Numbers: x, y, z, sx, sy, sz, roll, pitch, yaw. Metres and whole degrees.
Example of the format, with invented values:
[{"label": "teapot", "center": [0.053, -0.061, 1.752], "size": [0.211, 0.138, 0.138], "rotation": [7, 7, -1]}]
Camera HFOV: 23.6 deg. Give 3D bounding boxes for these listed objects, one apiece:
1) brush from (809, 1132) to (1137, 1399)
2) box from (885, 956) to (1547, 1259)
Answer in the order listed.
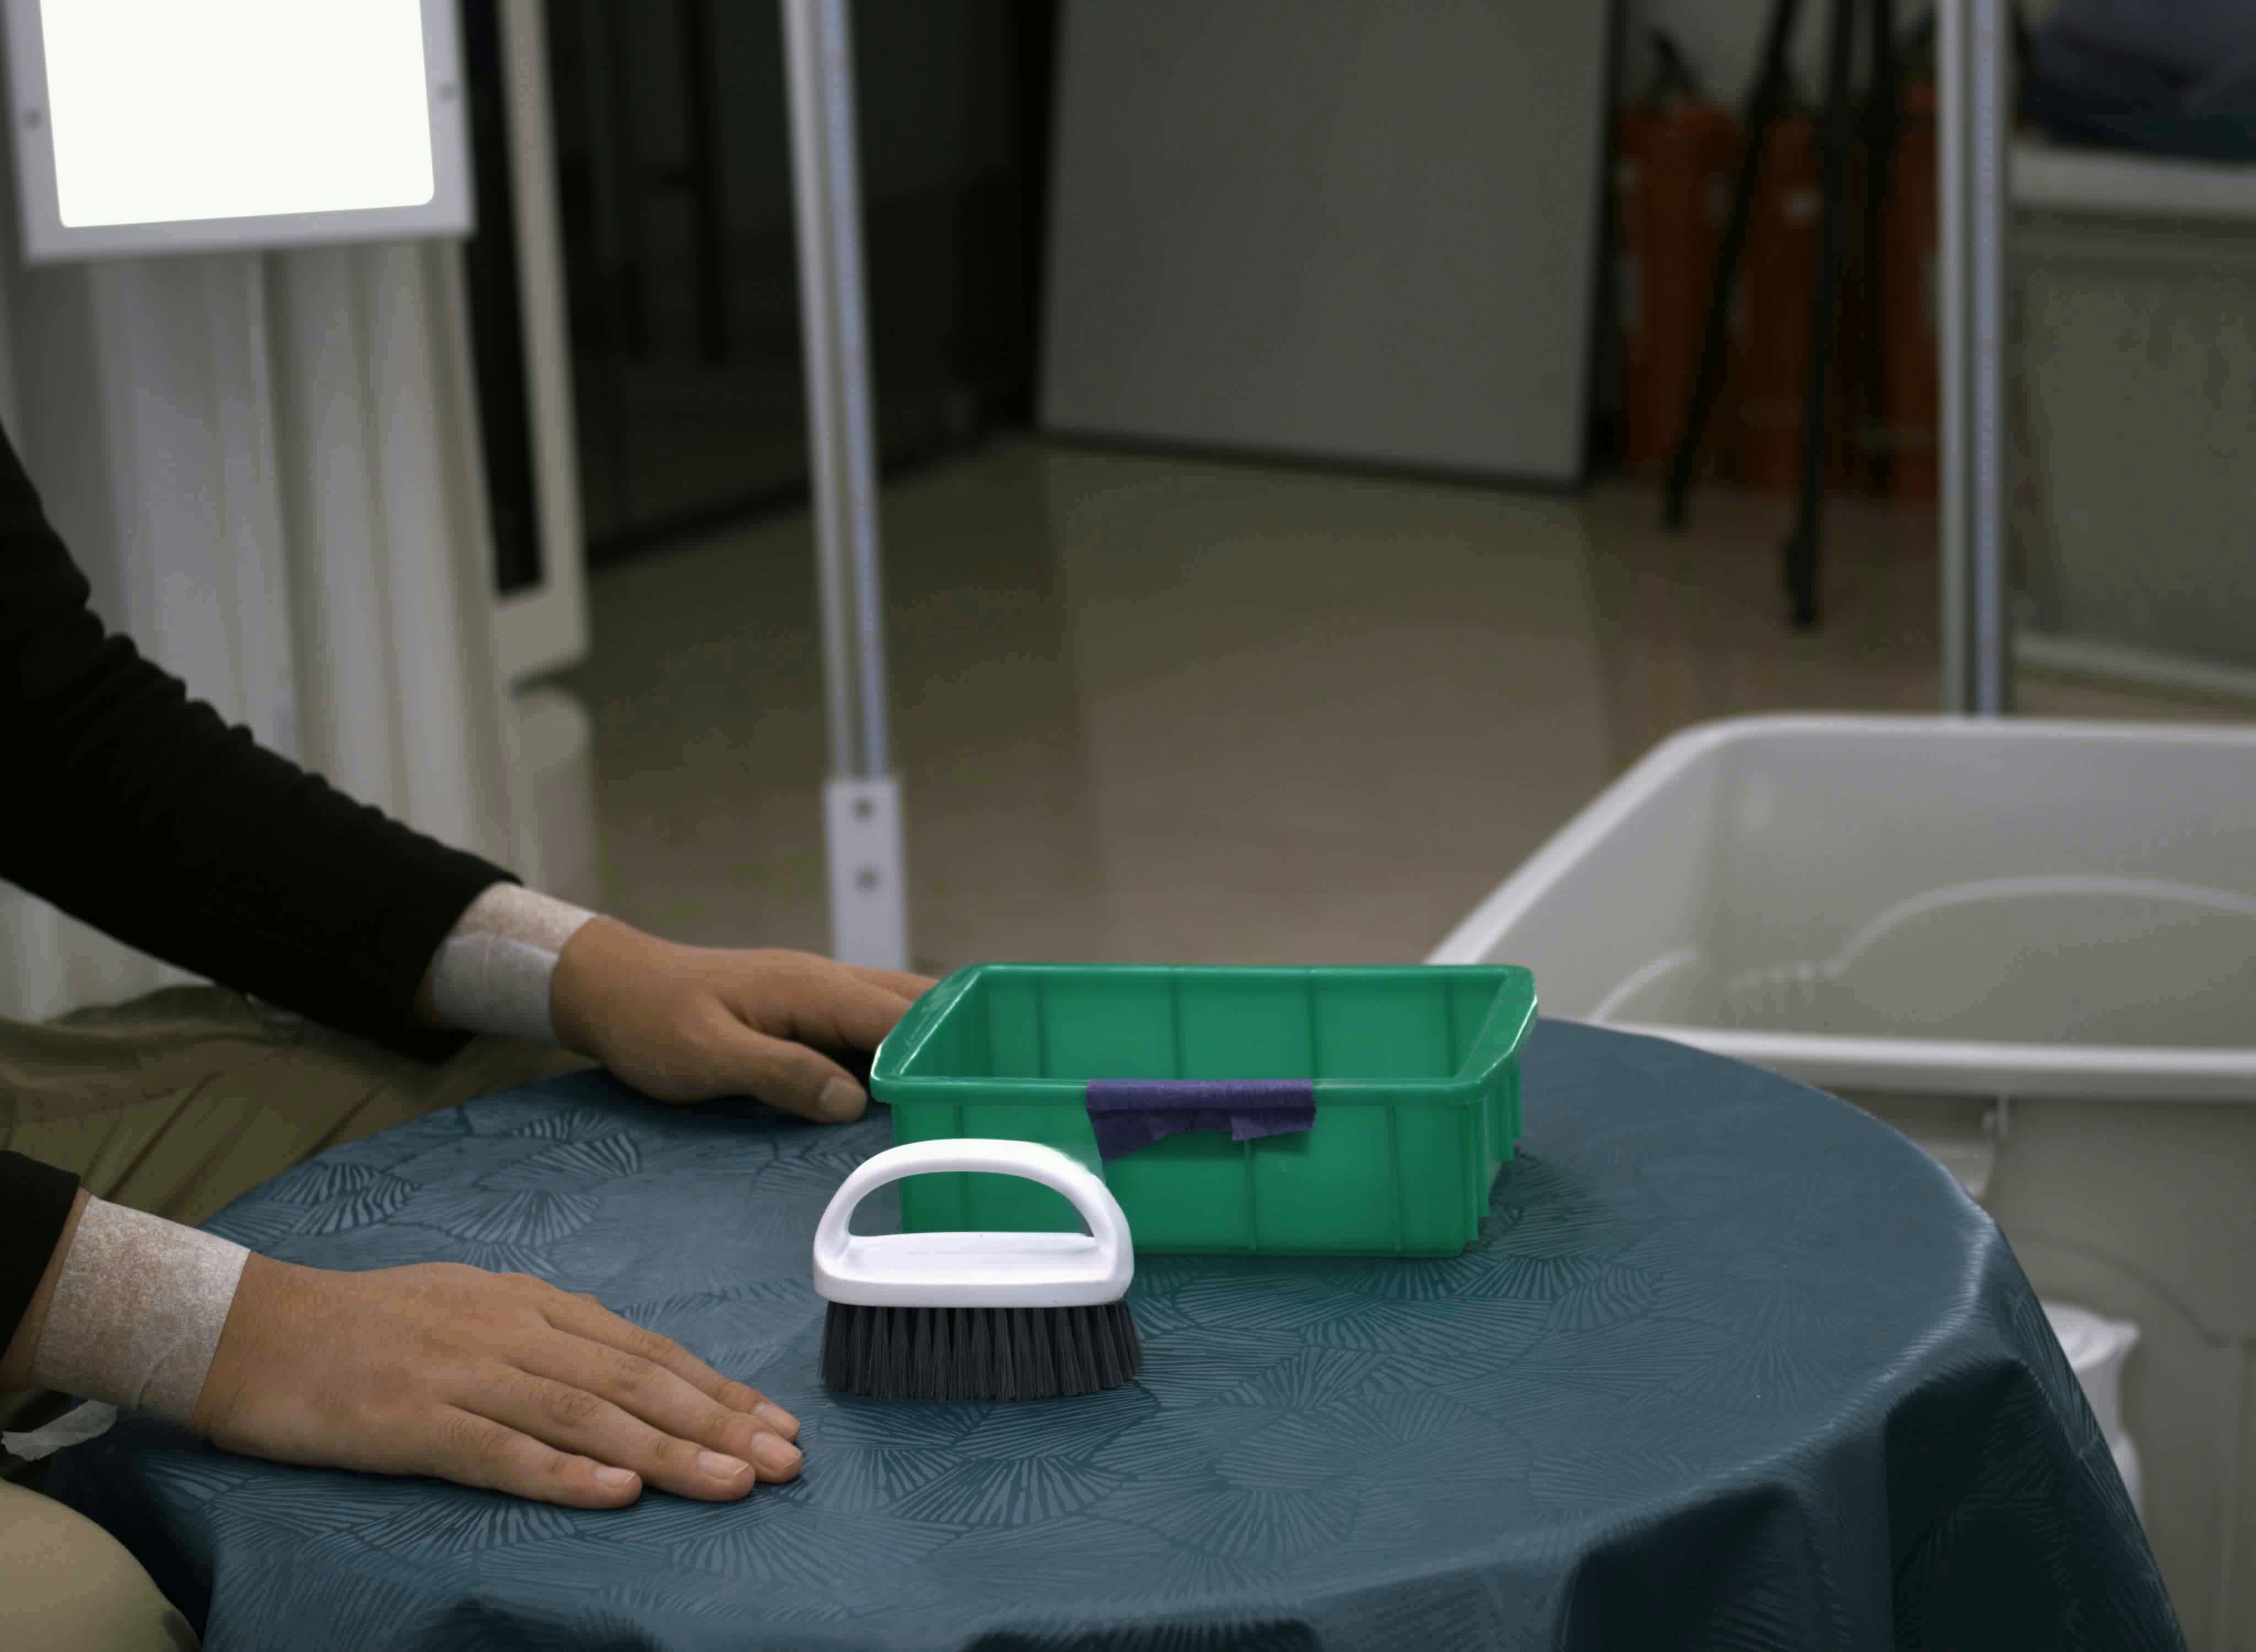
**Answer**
[{"label": "brush", "center": [-0.047, 0.127, 1.603], "size": [0.099, 0.073, 0.050], "rotation": [0, 14, 15]}, {"label": "box", "center": [0.032, 0.091, 1.751], "size": [0.209, 0.066, 0.138], "rotation": [0, 16, 12]}]
